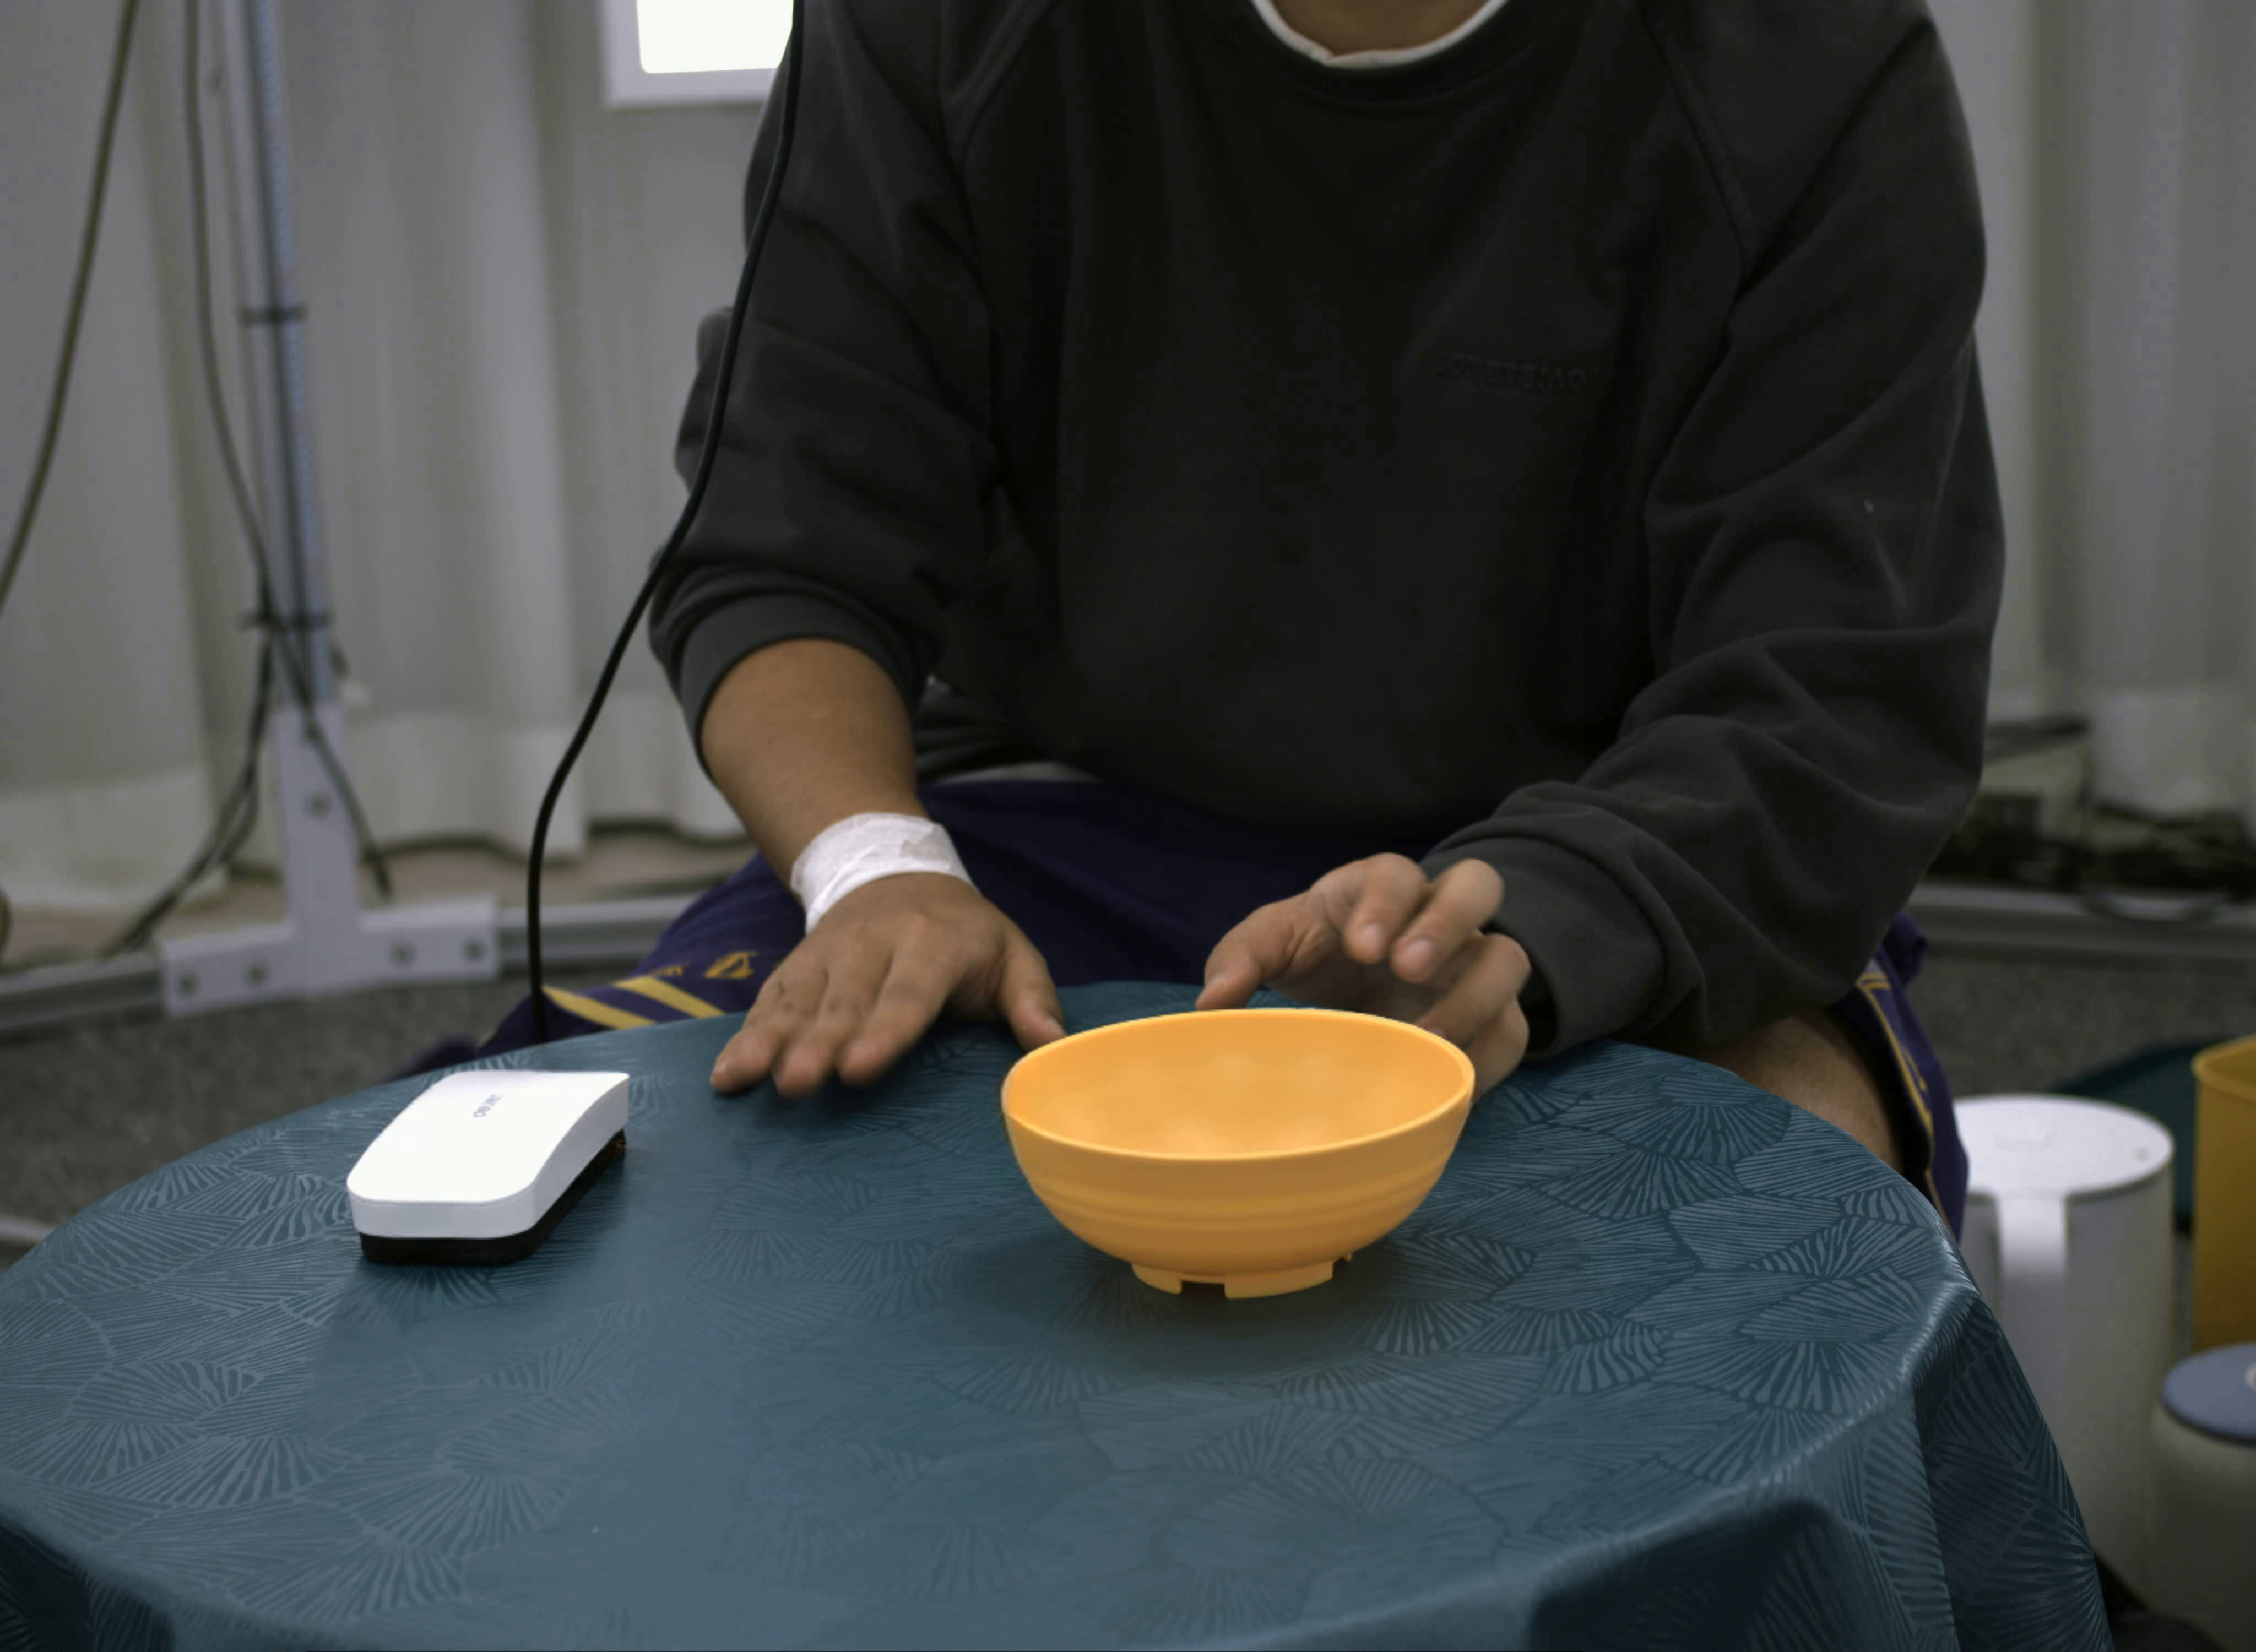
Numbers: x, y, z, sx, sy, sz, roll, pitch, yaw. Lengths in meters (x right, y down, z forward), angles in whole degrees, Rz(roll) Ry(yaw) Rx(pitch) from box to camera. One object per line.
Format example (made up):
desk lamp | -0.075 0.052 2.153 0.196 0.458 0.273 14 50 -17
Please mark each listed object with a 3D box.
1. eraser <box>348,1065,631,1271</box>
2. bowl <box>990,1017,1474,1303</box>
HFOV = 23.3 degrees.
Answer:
eraser | -0.199 0.104 1.734 0.063 0.034 0.132 0 16 12
bowl | 0.031 0.105 1.639 0.145 0.060 0.146 -1 13 0
